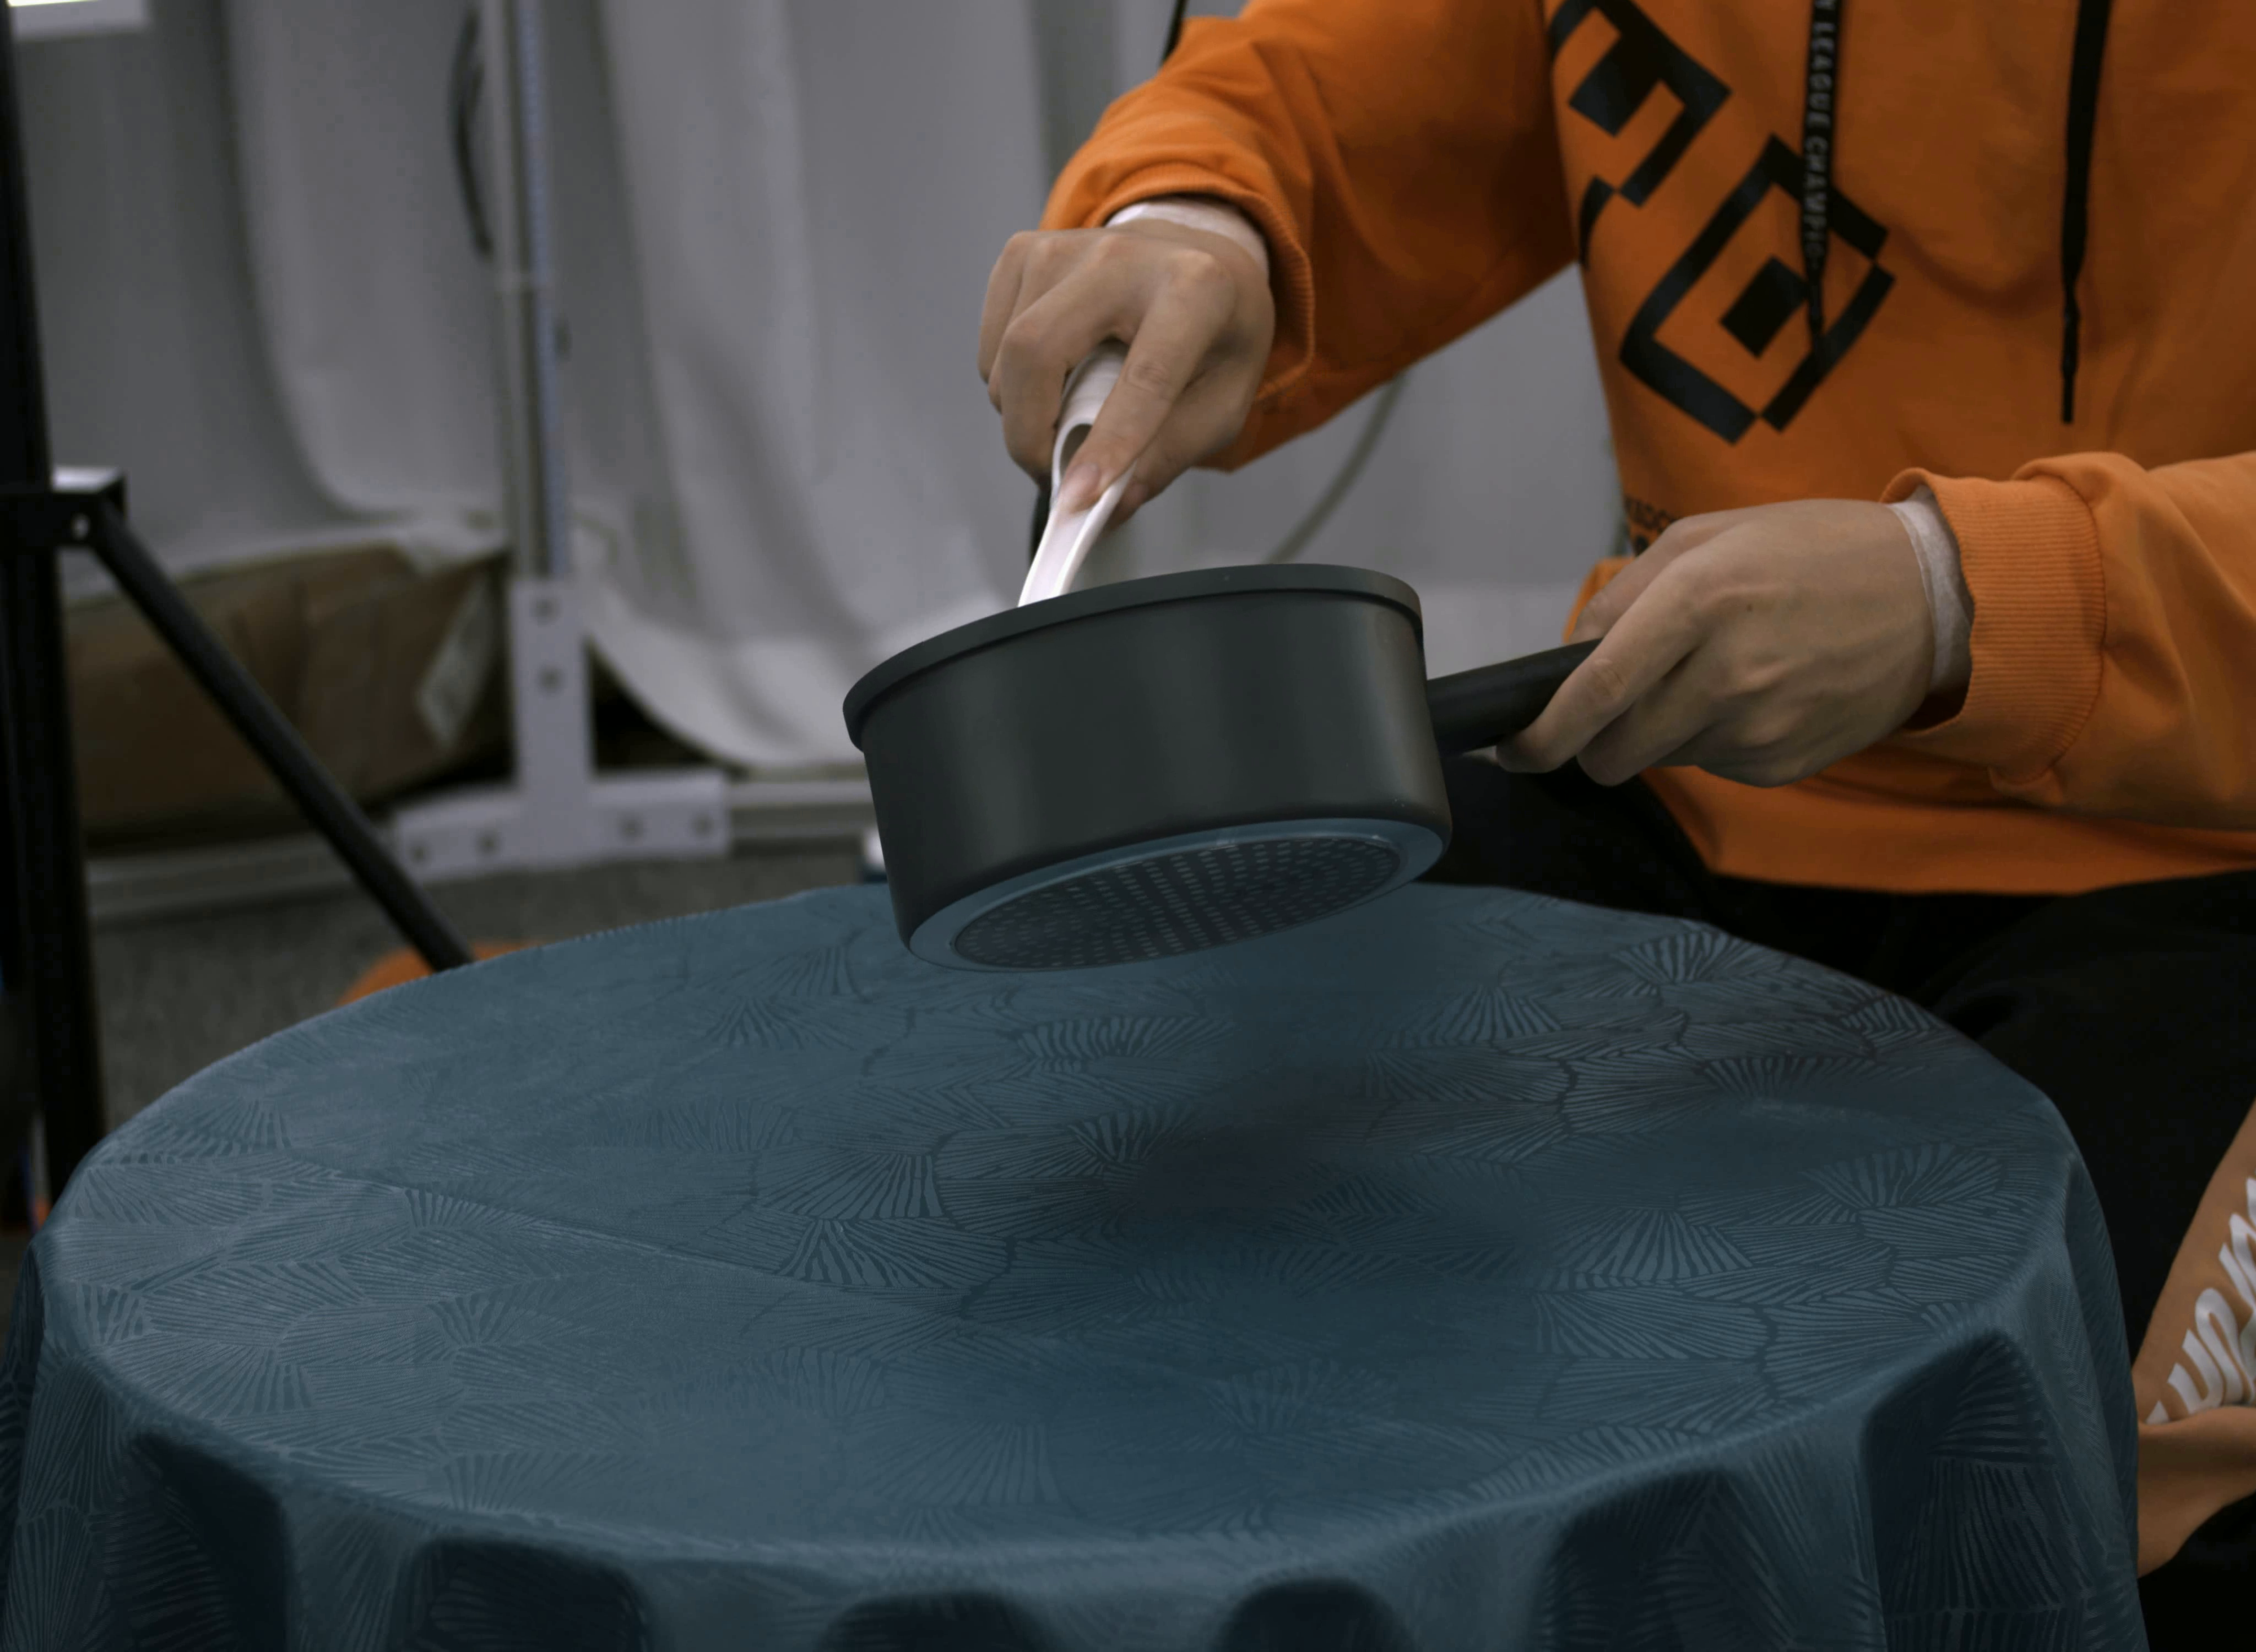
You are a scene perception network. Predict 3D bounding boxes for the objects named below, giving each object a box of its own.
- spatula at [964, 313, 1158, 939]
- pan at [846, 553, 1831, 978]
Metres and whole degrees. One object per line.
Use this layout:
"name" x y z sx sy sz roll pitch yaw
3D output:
"spatula" -0.018 -0.067 1.615 0.059 0.032 0.289 -20 32 19
"pan" 0.076 -0.020 1.575 0.321 0.087 0.174 -5 -14 -28
